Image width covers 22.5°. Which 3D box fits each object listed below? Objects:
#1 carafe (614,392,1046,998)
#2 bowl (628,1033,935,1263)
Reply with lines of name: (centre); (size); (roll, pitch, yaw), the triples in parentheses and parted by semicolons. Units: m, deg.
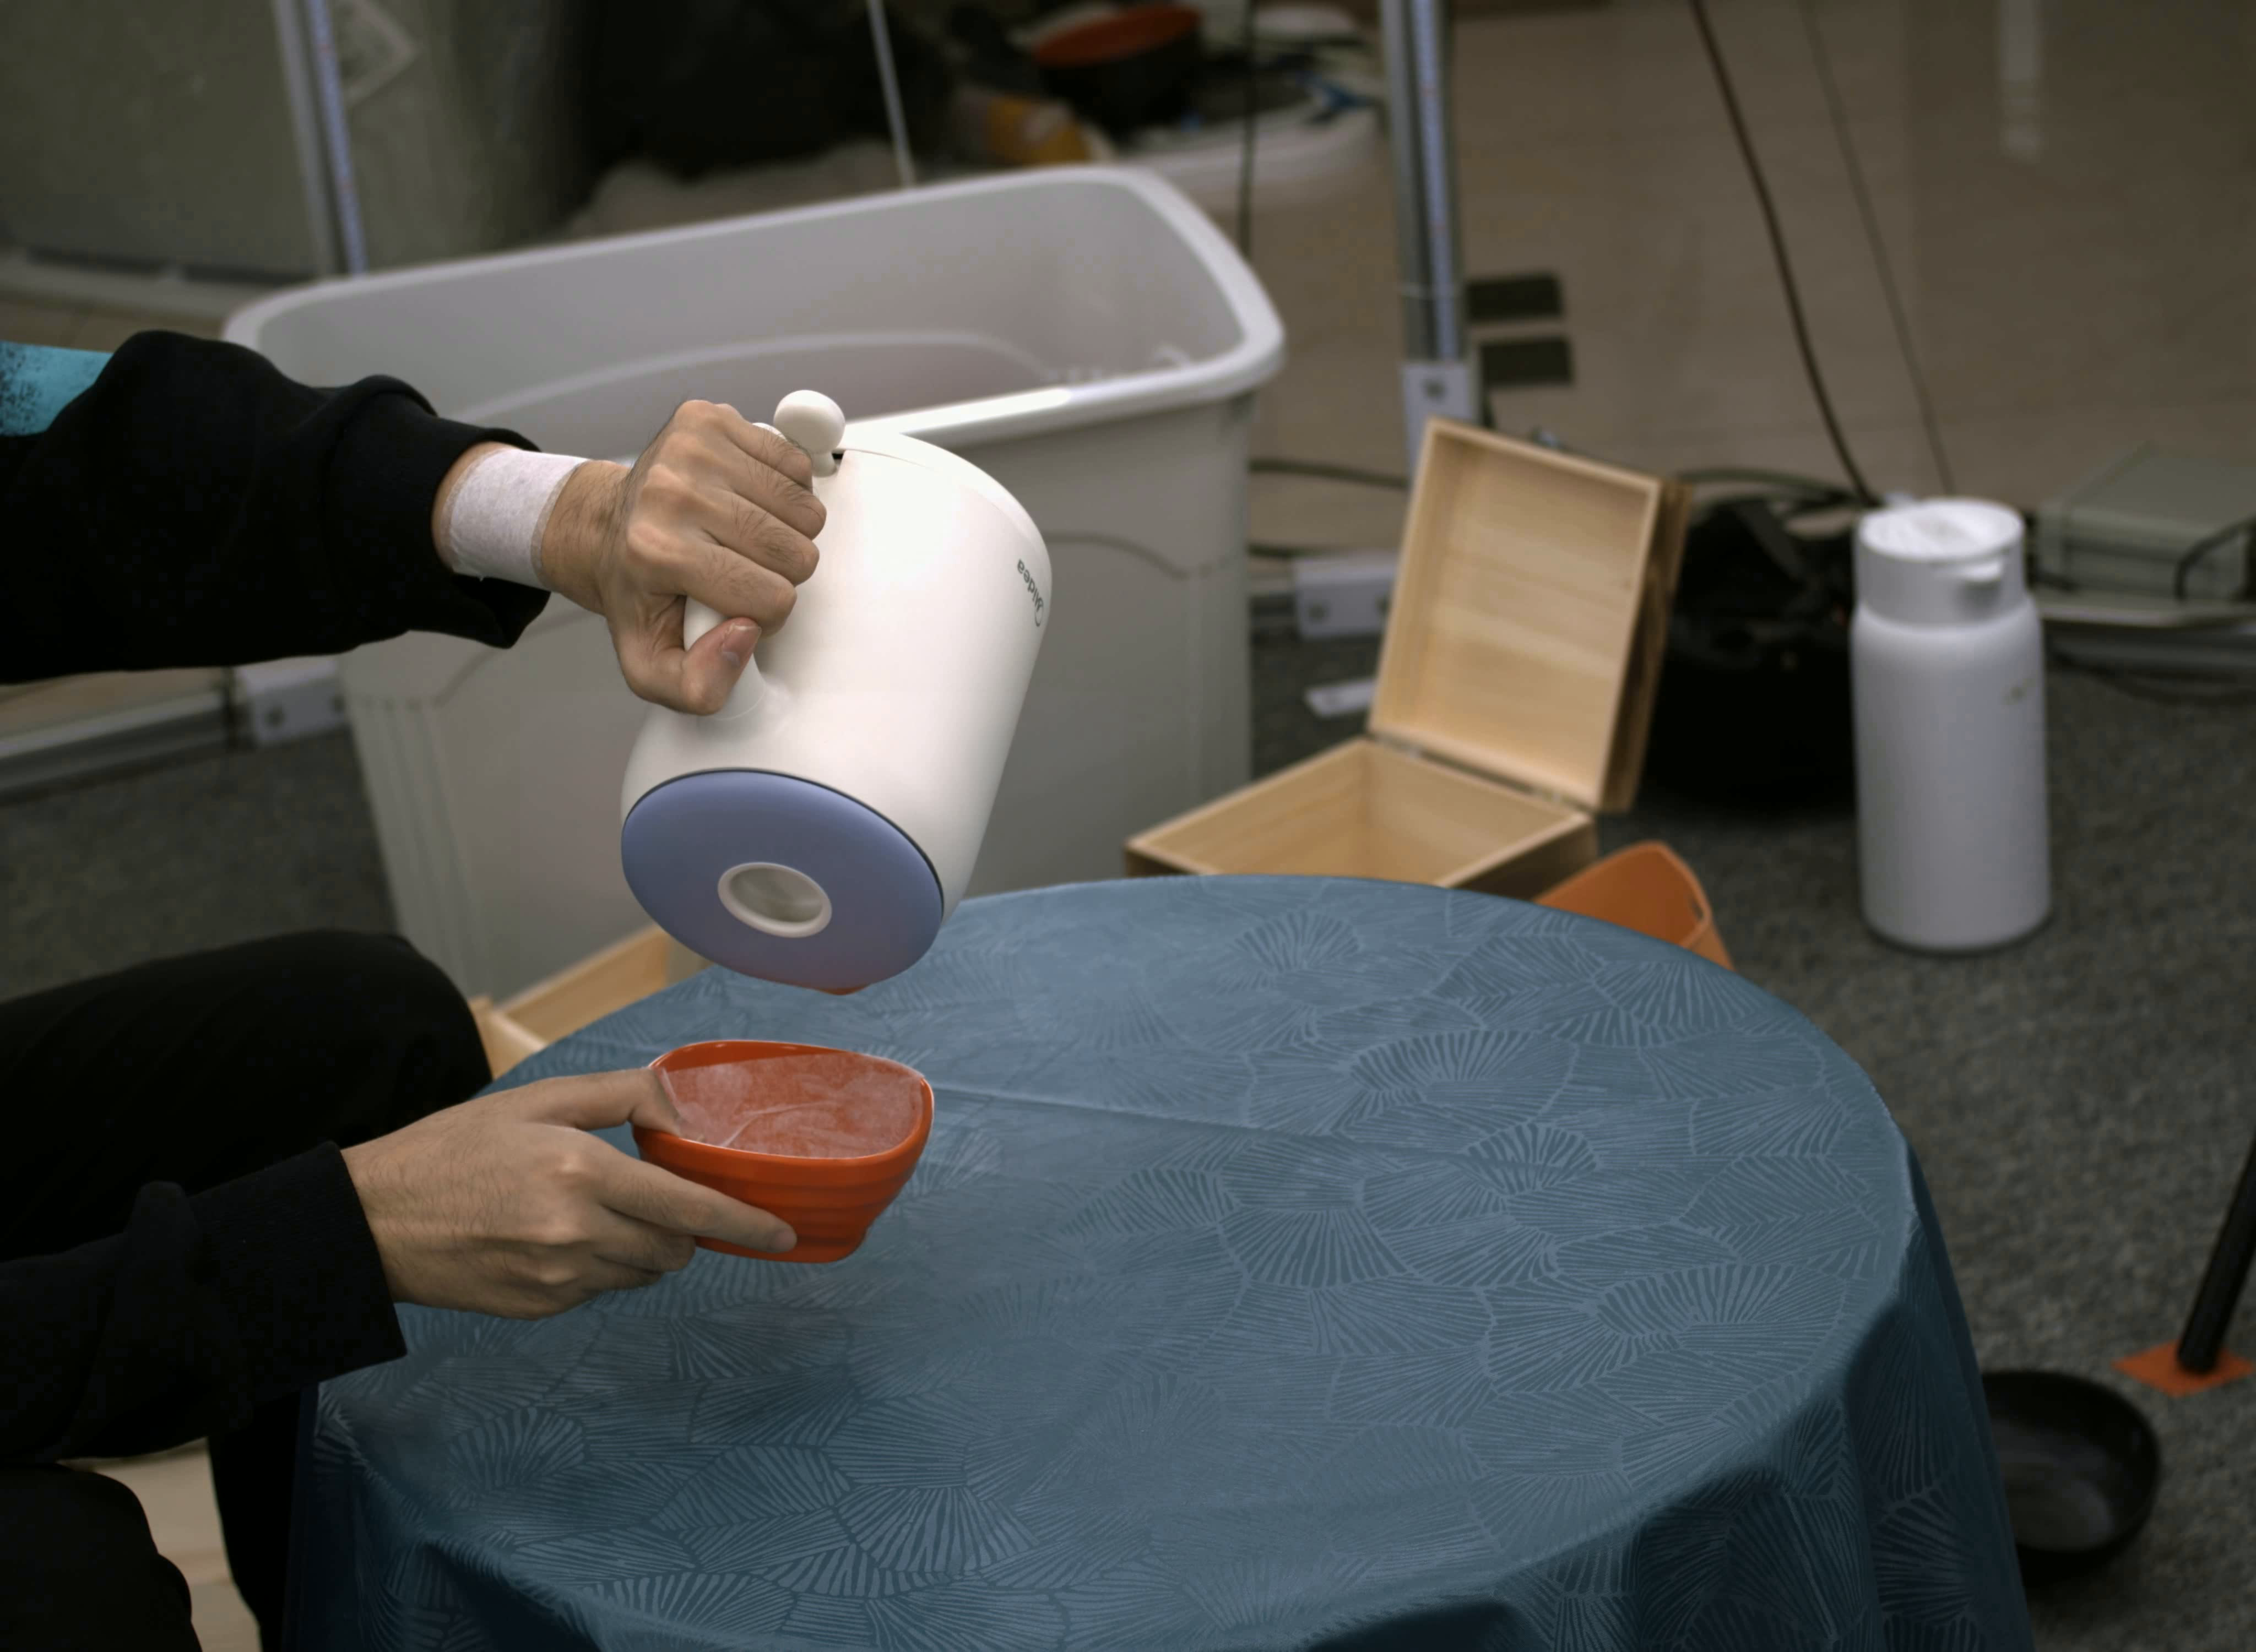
carafe: (-0.116, -0.059, 2.046); (0.132, 0.194, 0.179); (-3, 47, 21)
bowl: (-0.127, 0.120, 2.058); (0.119, 0.052, 0.117); (6, 22, -2)
